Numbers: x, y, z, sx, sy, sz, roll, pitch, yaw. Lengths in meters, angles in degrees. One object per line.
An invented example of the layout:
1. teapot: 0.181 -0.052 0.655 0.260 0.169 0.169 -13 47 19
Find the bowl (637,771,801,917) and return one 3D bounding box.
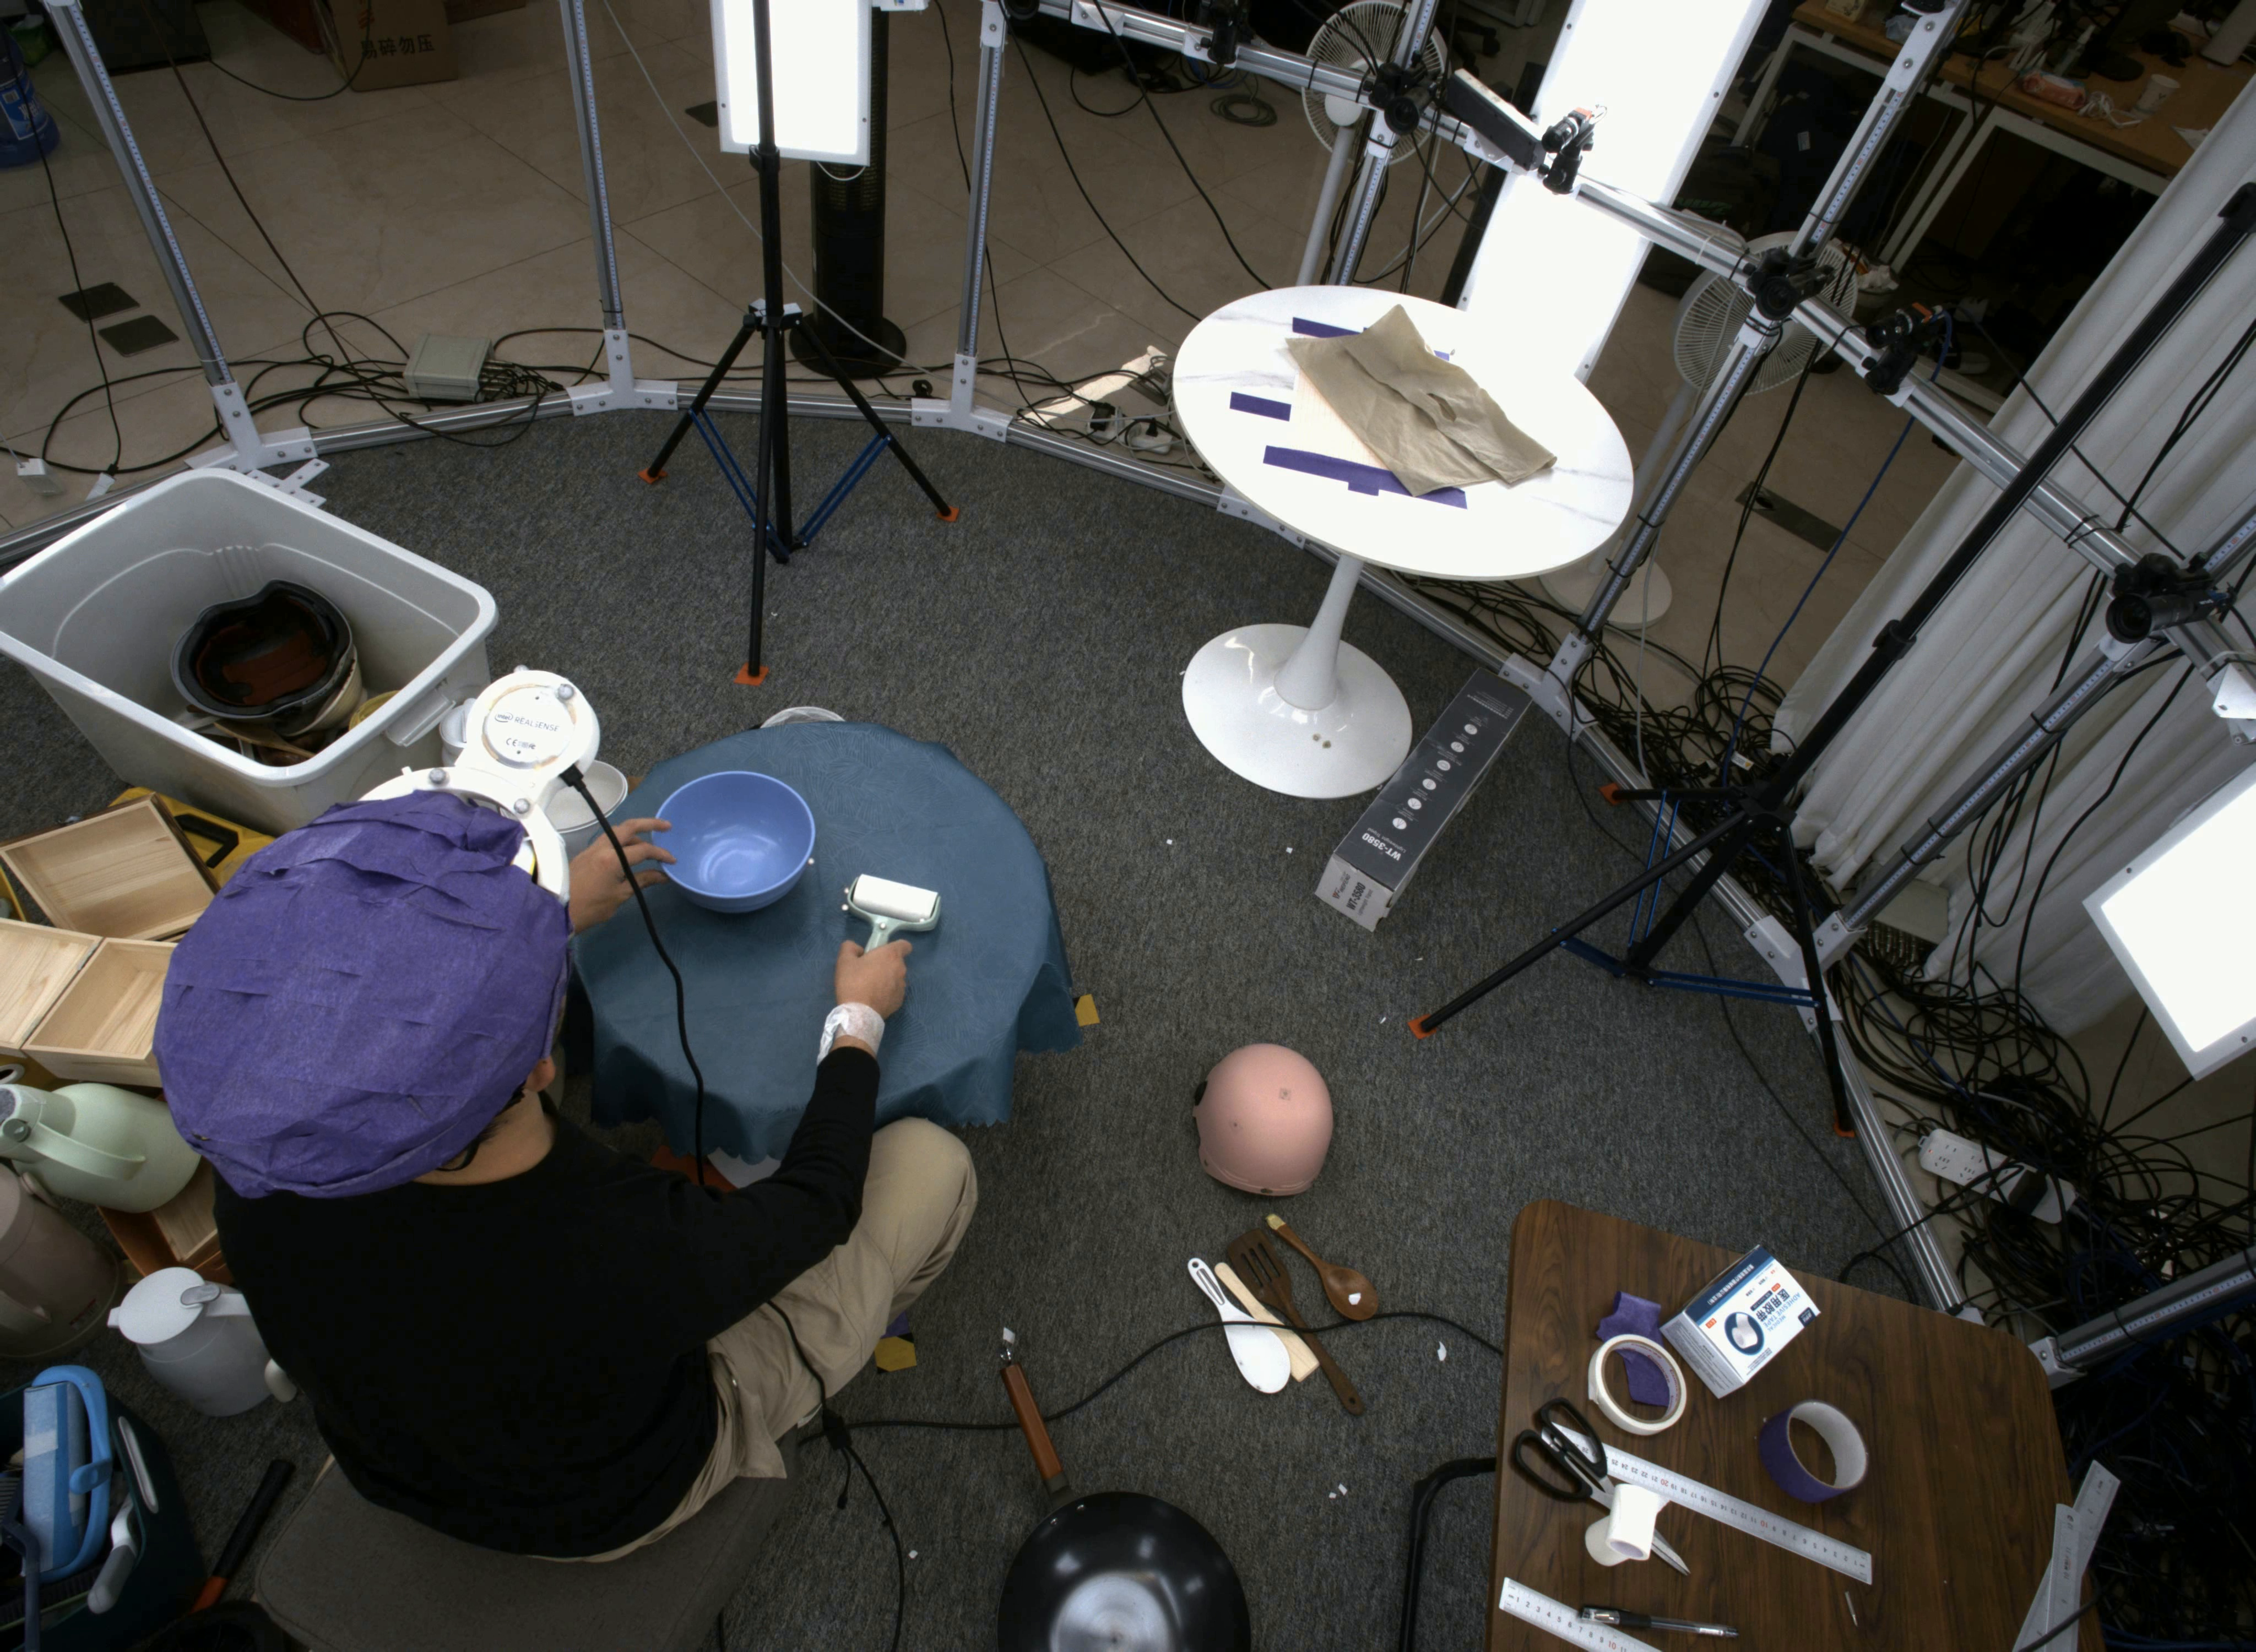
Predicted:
1. bowl: -0.507 0.036 1.608 0.196 0.097 0.193 9 52 -9

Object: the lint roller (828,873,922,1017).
1. lint roller: -0.326 0.142 1.597 0.116 0.049 0.194 14 46 -6
